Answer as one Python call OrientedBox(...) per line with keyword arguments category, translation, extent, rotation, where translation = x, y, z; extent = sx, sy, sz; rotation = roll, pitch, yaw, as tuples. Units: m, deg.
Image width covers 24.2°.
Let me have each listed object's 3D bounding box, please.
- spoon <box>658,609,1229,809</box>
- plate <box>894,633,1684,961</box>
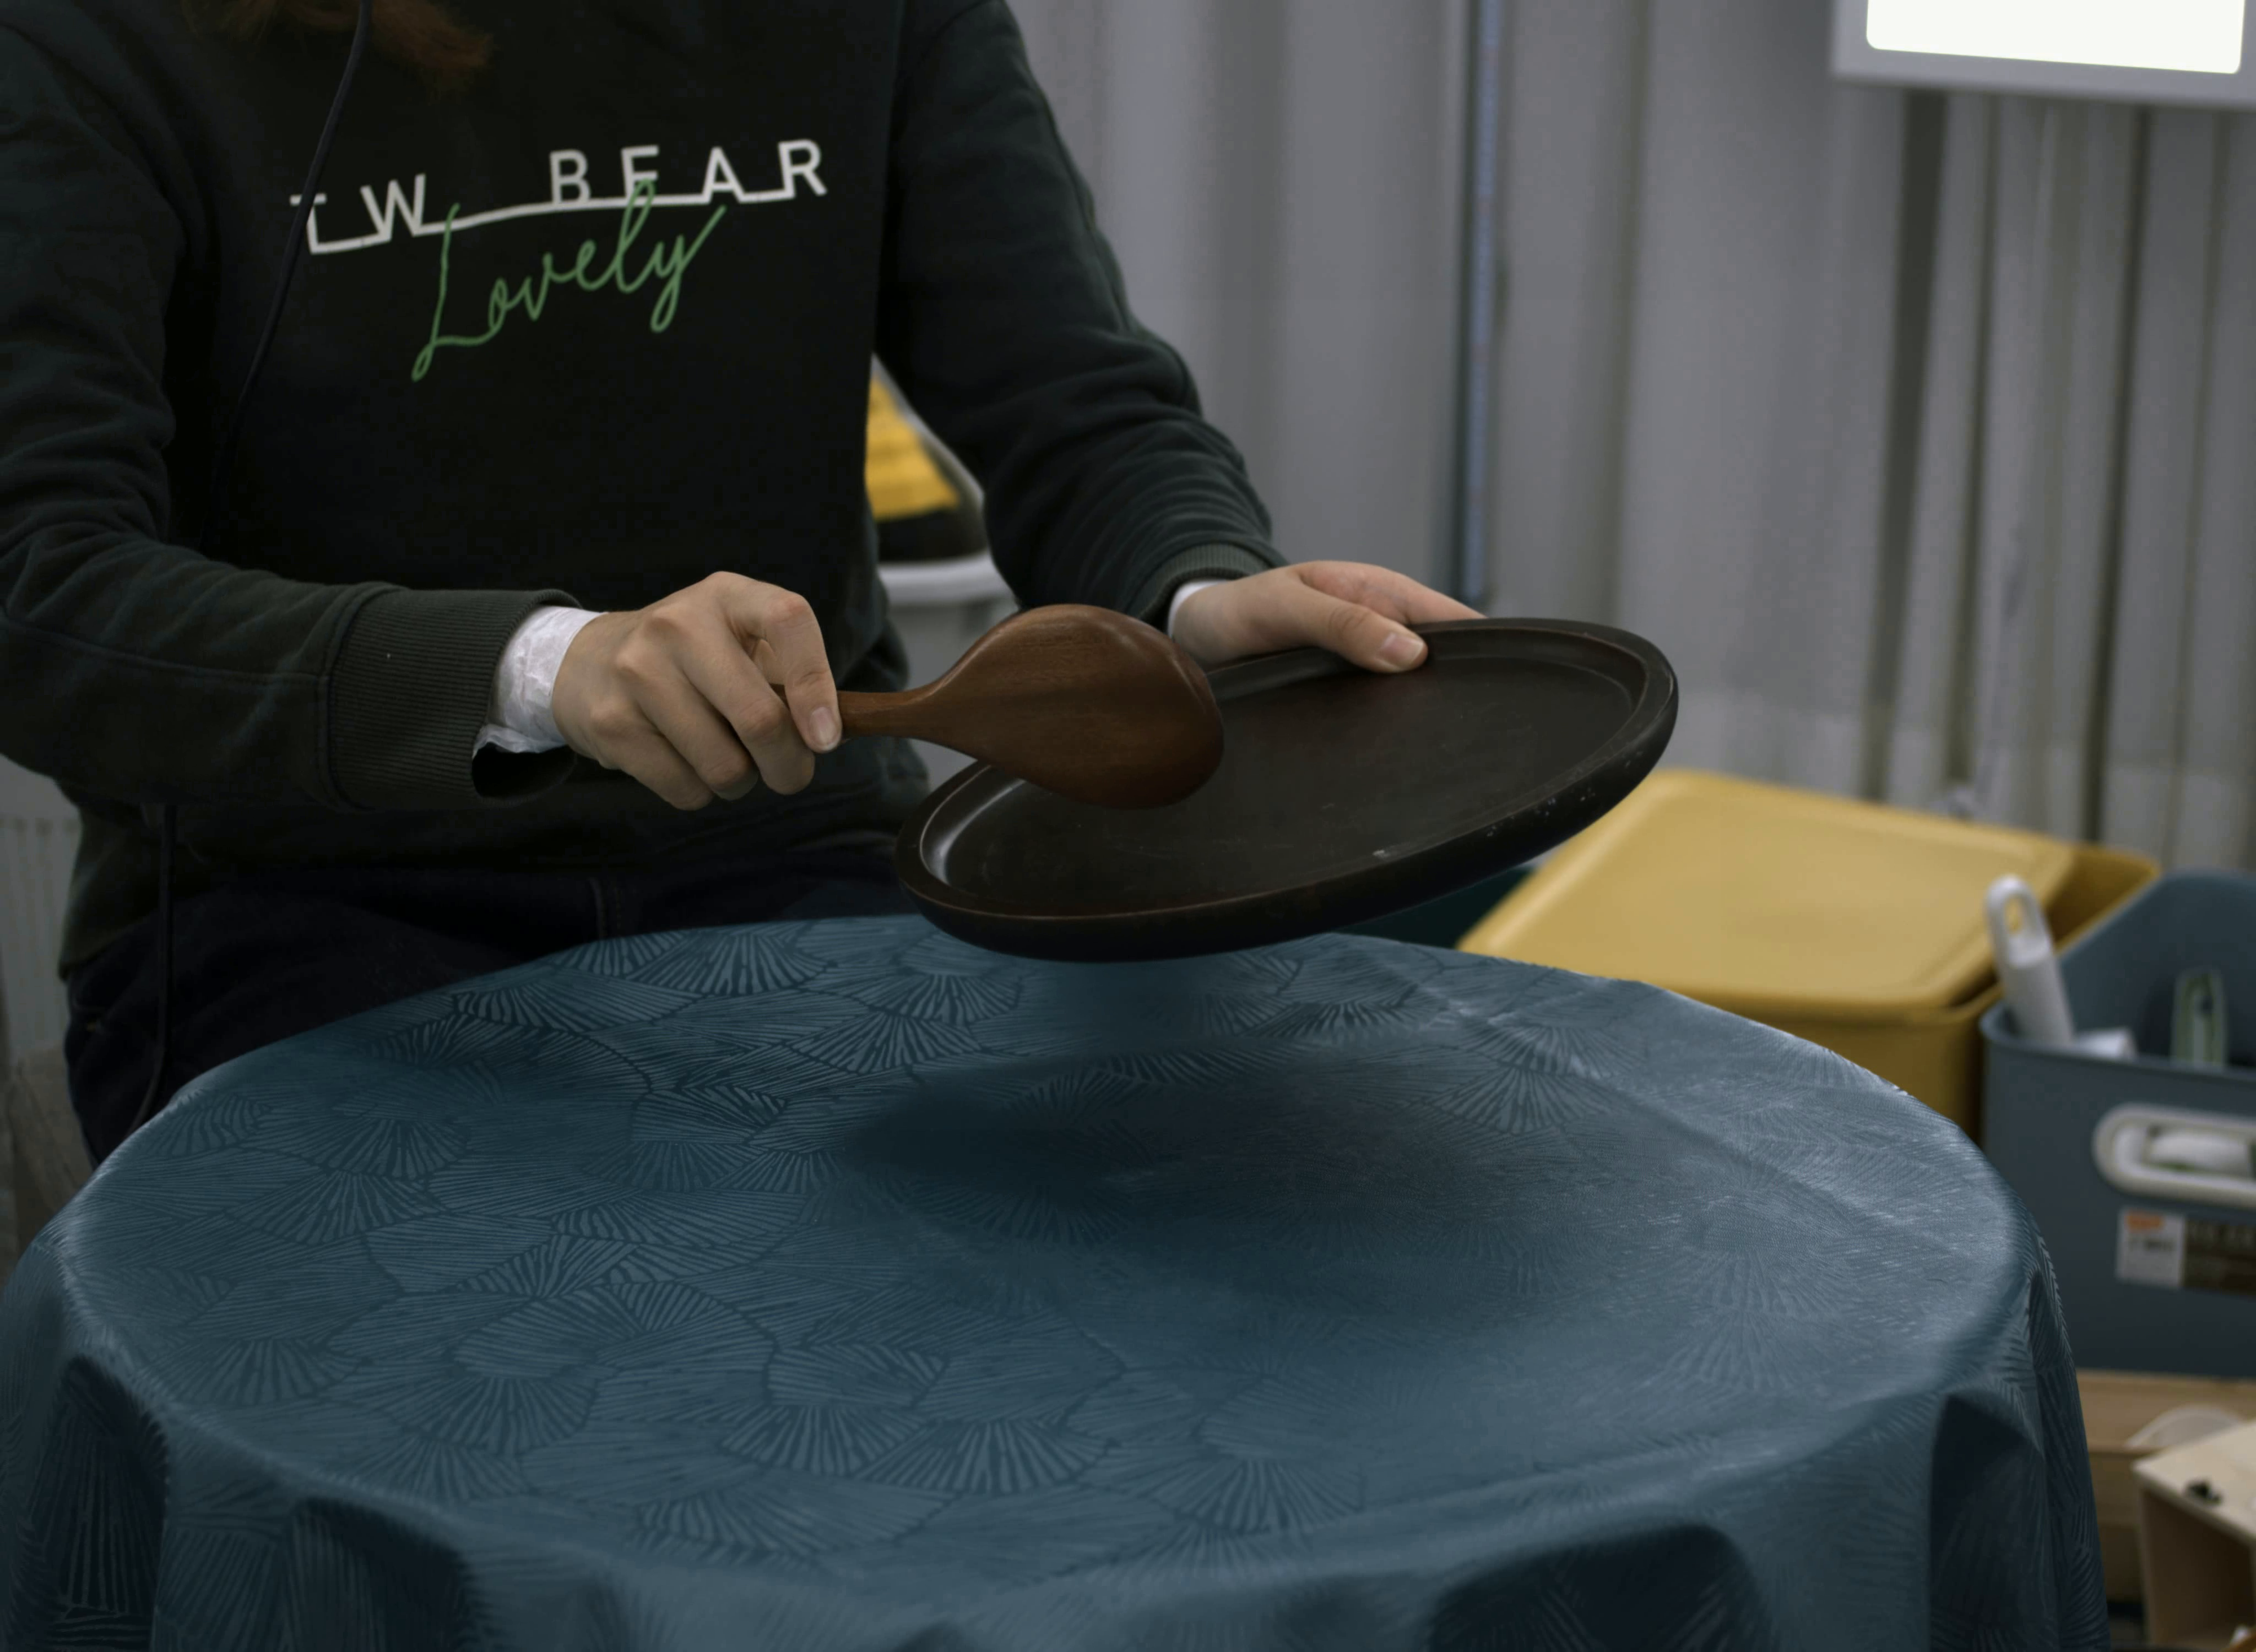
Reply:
OrientedBox(category="spoon", translation=(-0.062, -0.033, 1.625), extent=(0.213, 0.076, 0.017), rotation=(1, 40, 36))
OrientedBox(category="plate", translation=(0.051, -0.012, 1.651), extent=(0.254, 0.029, 0.253), rotation=(-11, 18, 4))
